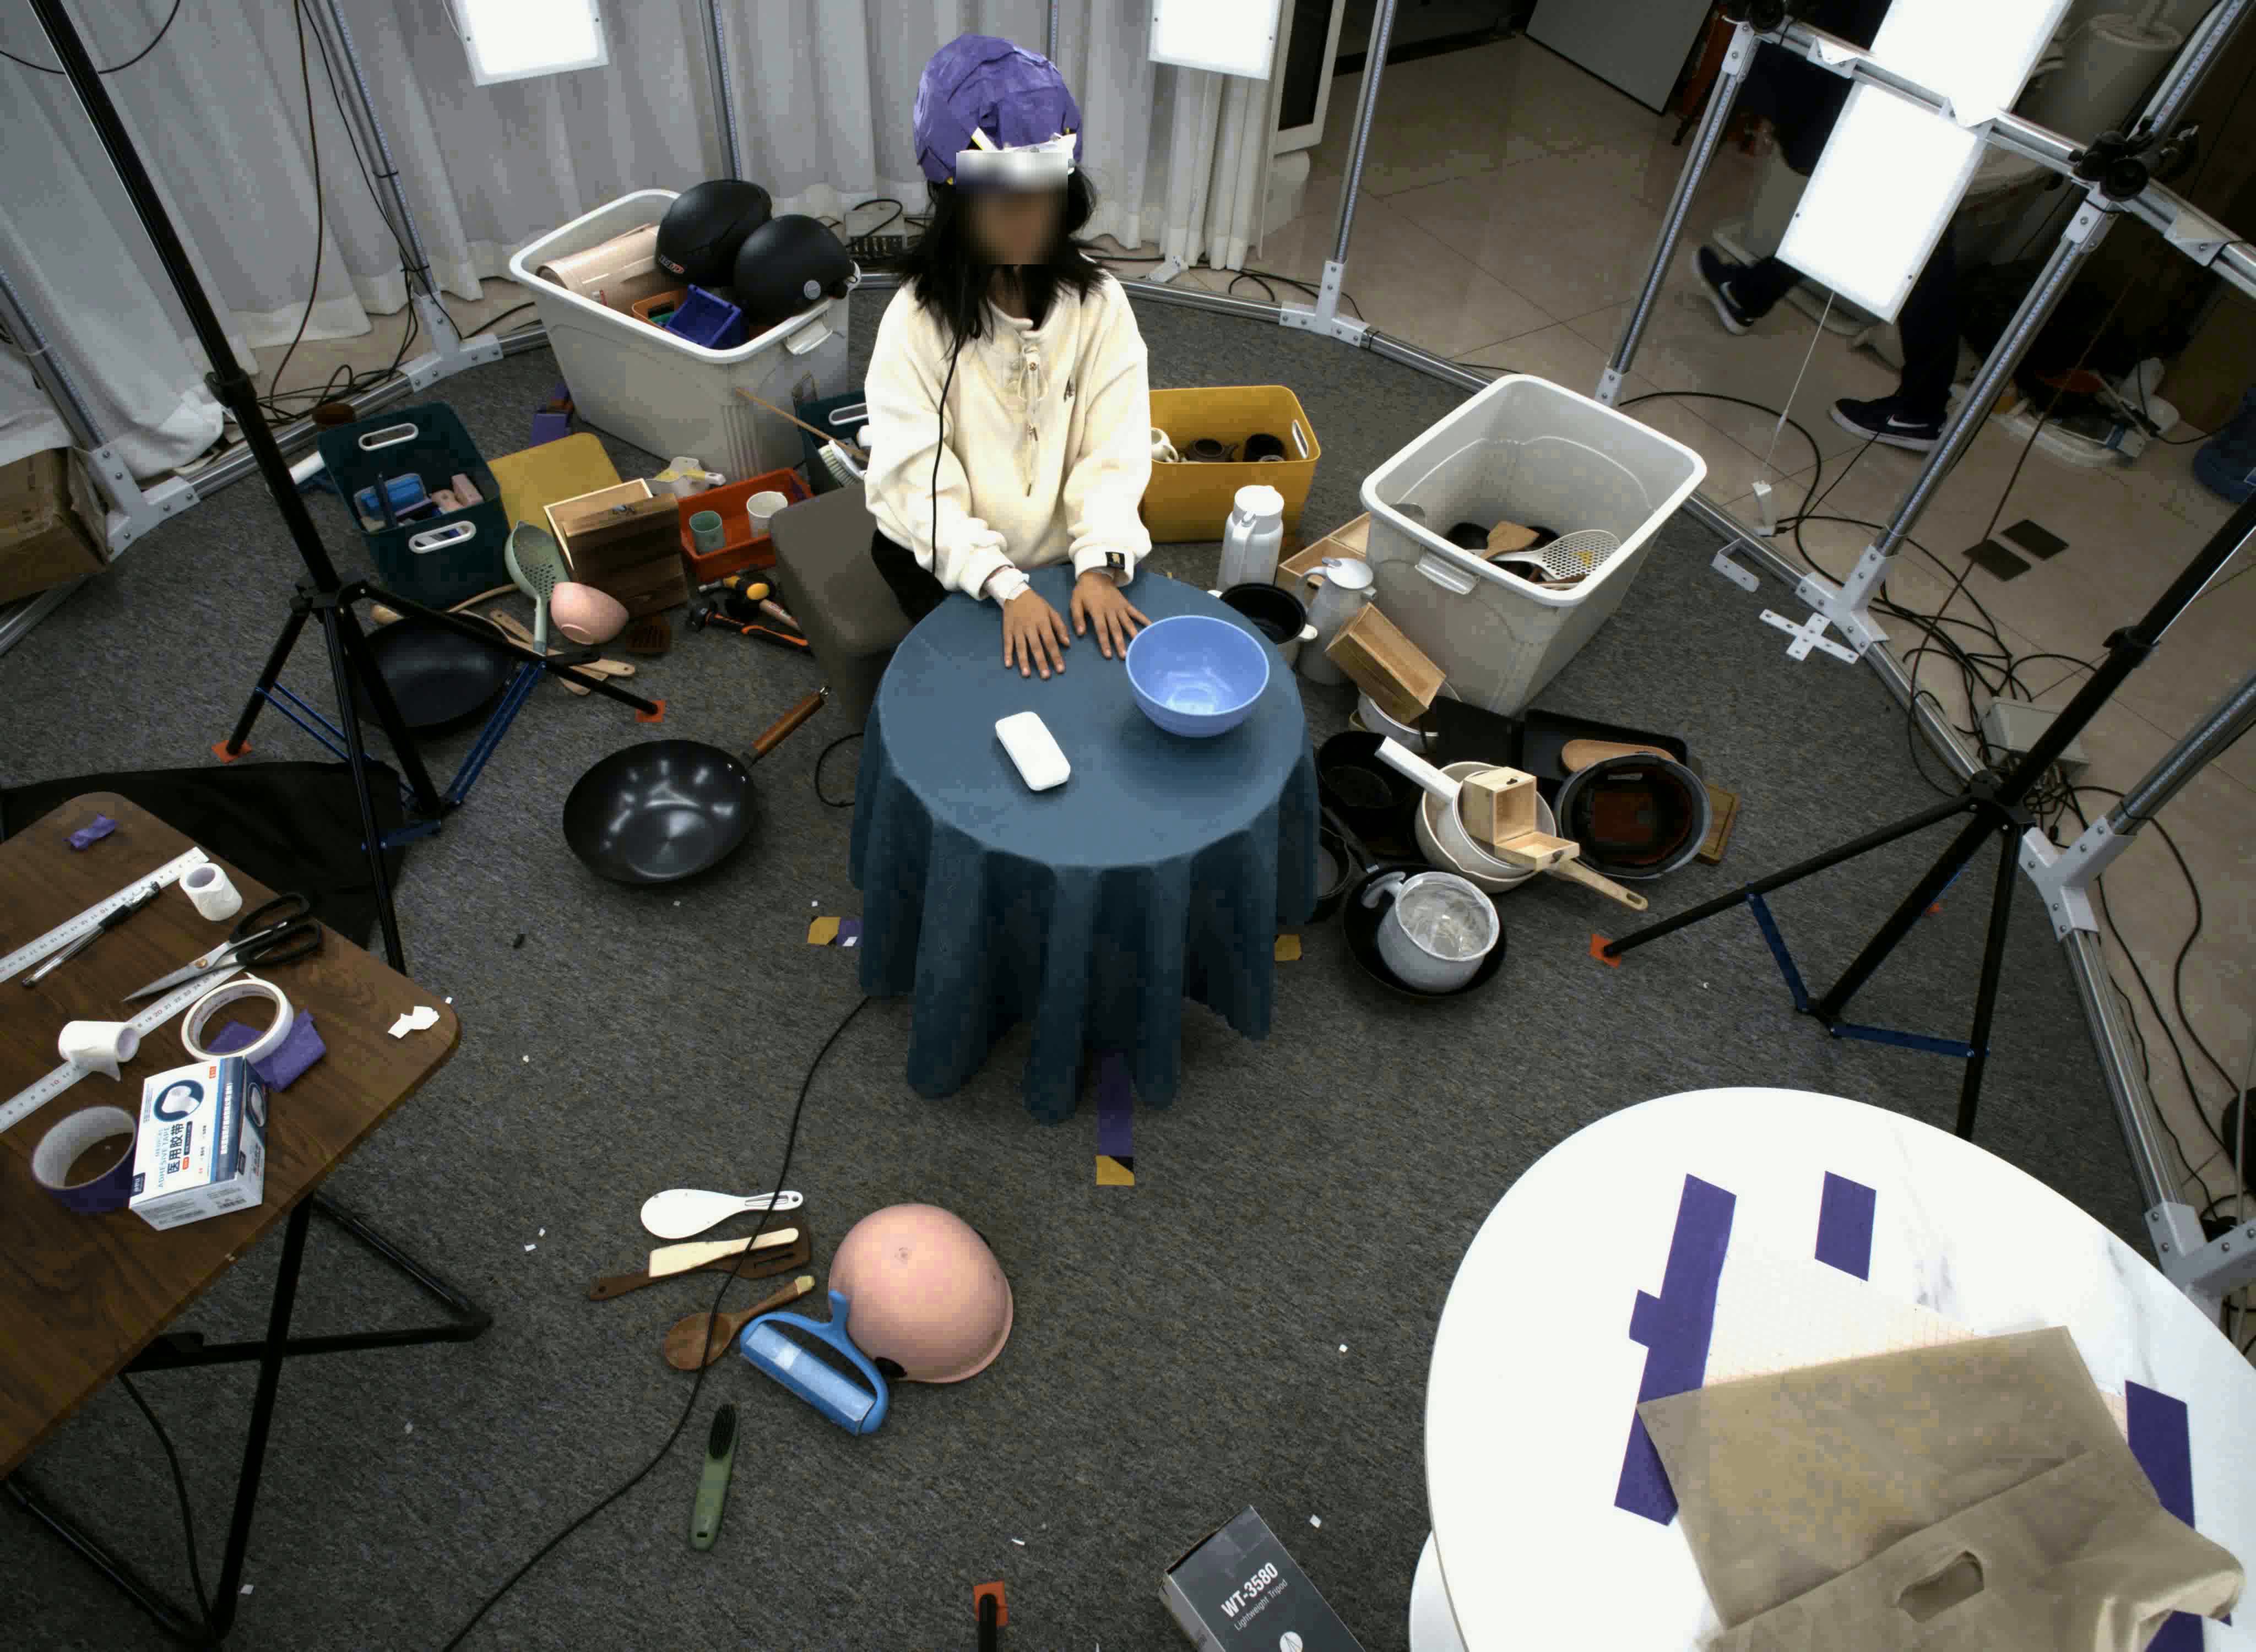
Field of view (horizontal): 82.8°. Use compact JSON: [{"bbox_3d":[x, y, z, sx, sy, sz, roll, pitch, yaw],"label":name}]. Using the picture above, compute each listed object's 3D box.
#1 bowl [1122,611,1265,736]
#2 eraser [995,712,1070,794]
[{"bbox_3d":[0.087,-0.197,1.787,0.196,0.093,0.201,1,54,-2],"label":"bowl"},{"bbox_3d":[-0.129,-0.102,1.730,0.063,0.034,0.134,-18,54,-20],"label":"eraser"}]
